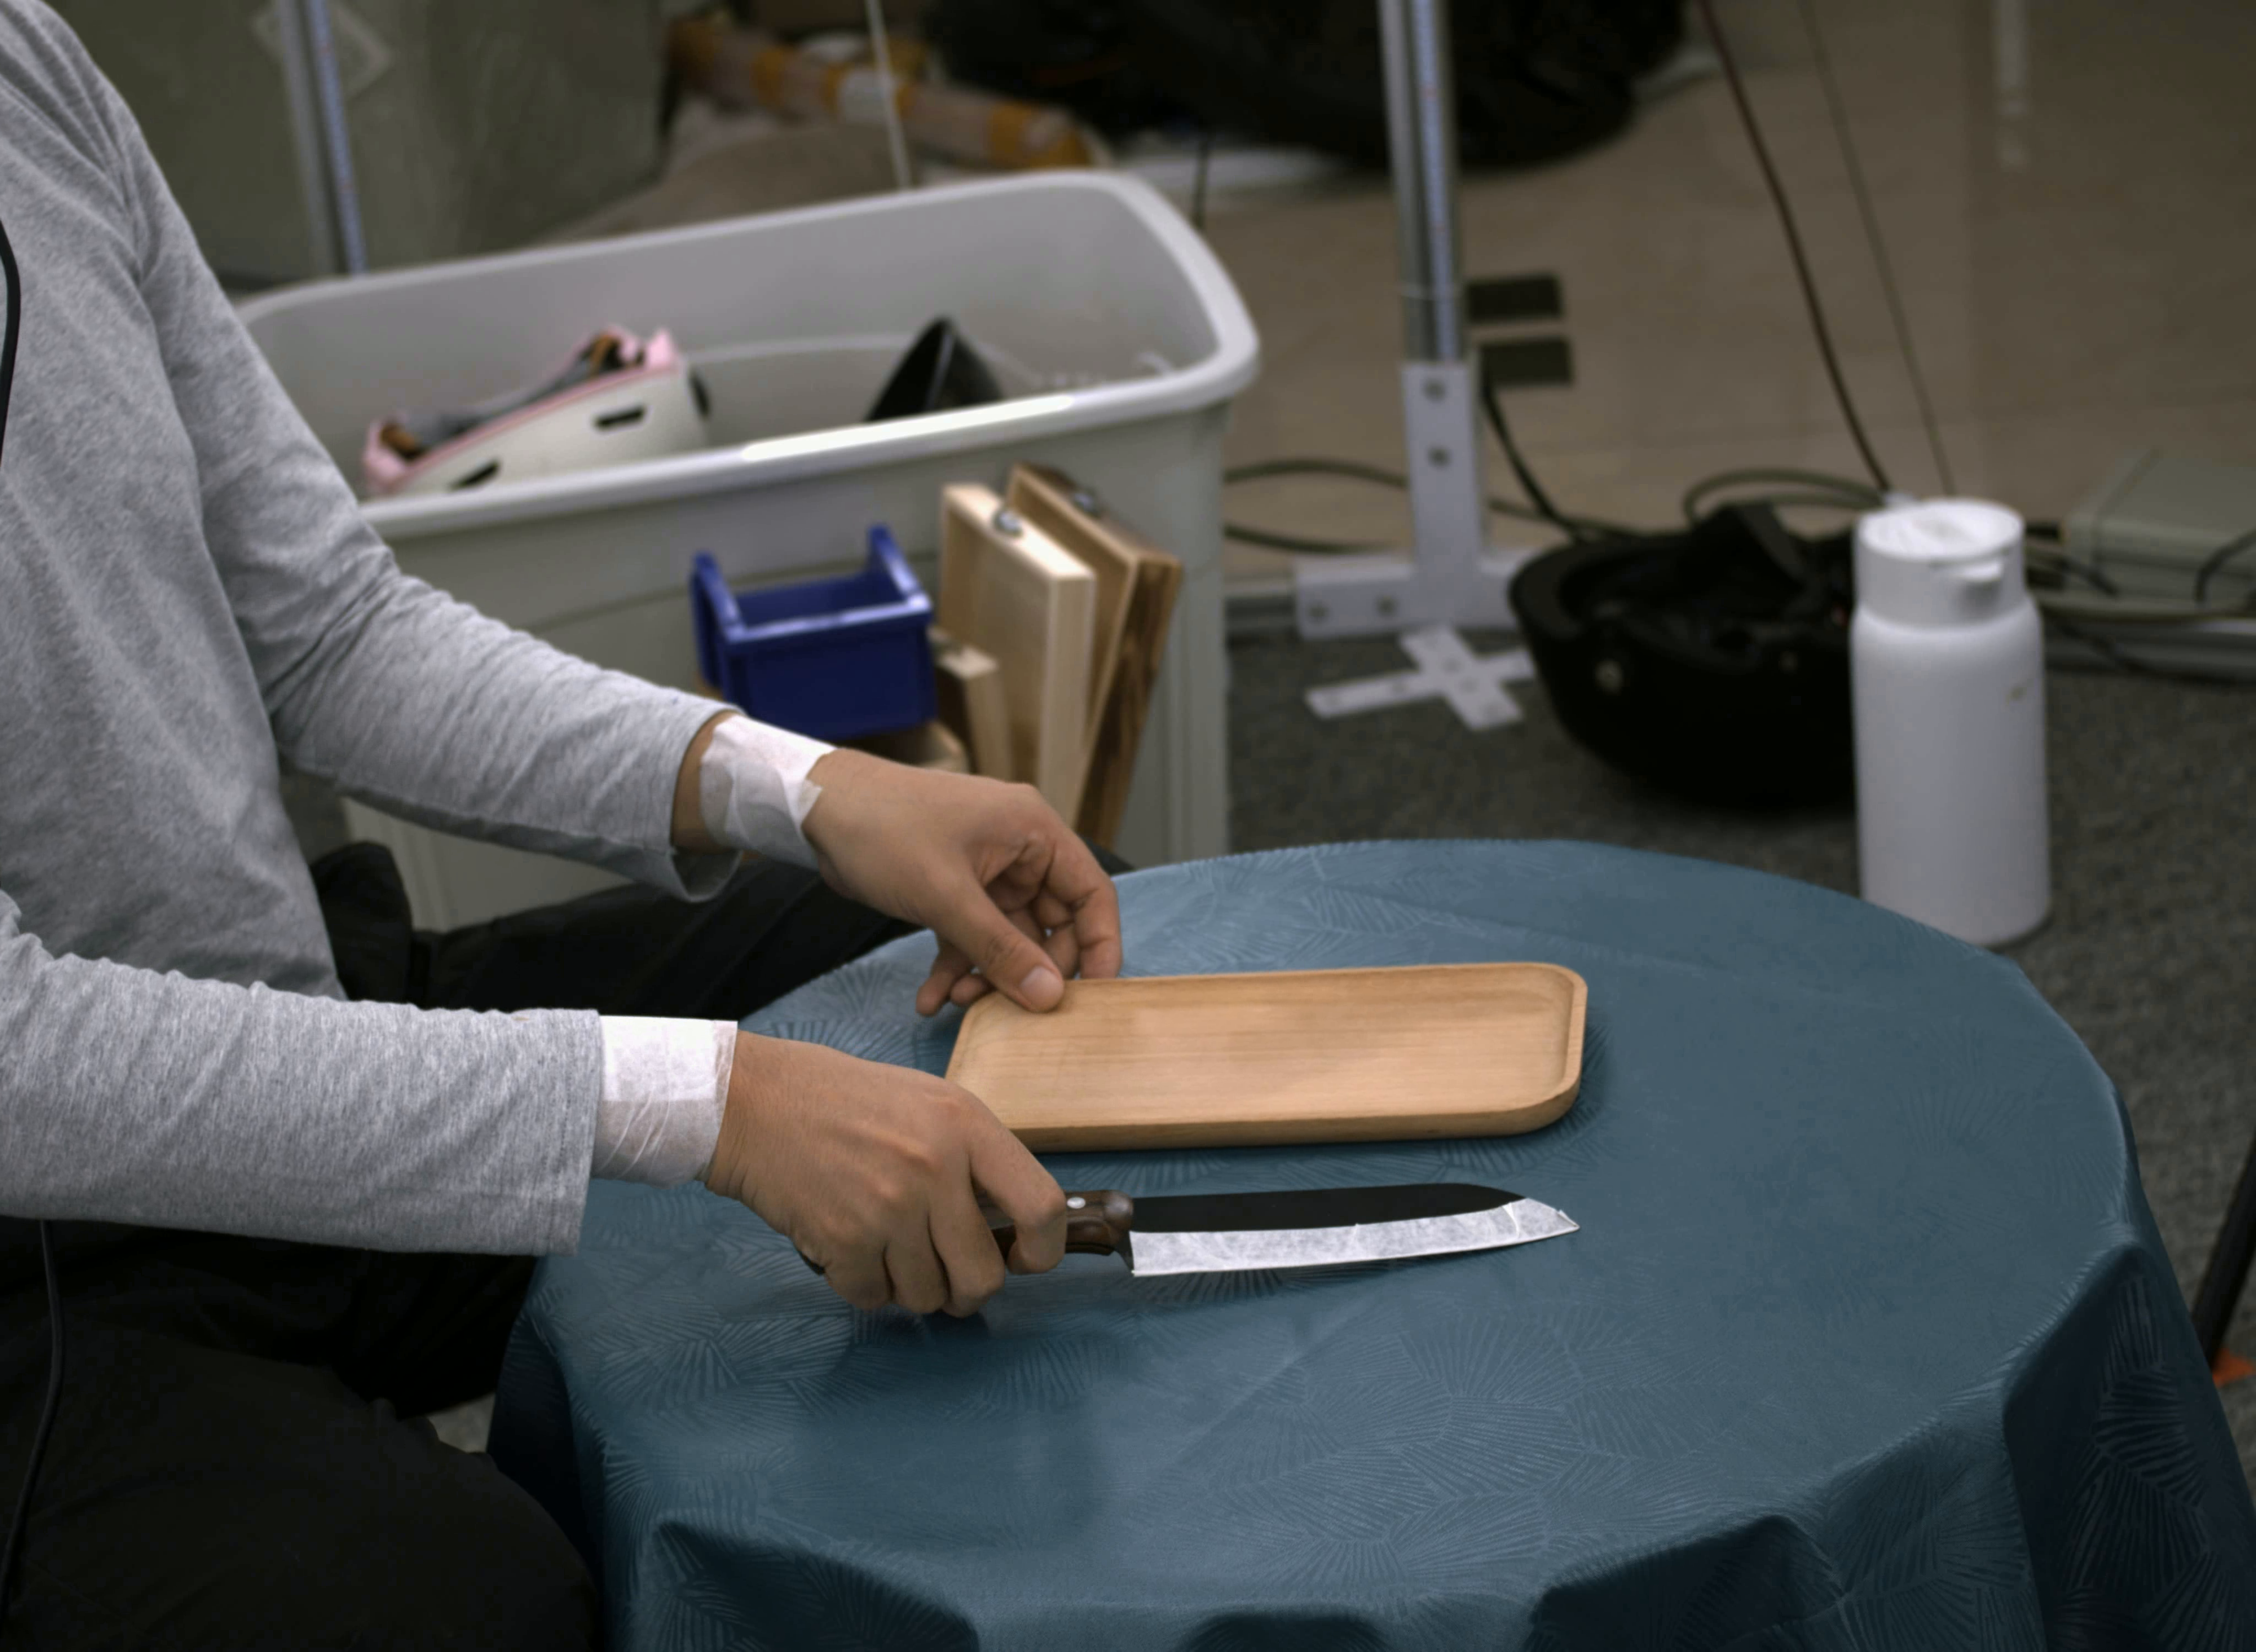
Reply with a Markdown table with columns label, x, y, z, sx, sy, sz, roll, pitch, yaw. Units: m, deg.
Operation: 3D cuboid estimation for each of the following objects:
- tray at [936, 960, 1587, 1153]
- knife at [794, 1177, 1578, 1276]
| label | x | y | z | sx | sy | sz | roll | pitch | yaw |
| --- | --- | --- | --- | --- | --- | --- | --- | --- | --- |
| tray | 0.053 | 0.091 | 2.223 | 0.250 | 0.023 | 0.129 | -3 | 23 | 10 |
| knife | 0.022 | 0.148 | 2.085 | 0.288 | 0.020 | 0.049 | -1 | 36 | -4 |
